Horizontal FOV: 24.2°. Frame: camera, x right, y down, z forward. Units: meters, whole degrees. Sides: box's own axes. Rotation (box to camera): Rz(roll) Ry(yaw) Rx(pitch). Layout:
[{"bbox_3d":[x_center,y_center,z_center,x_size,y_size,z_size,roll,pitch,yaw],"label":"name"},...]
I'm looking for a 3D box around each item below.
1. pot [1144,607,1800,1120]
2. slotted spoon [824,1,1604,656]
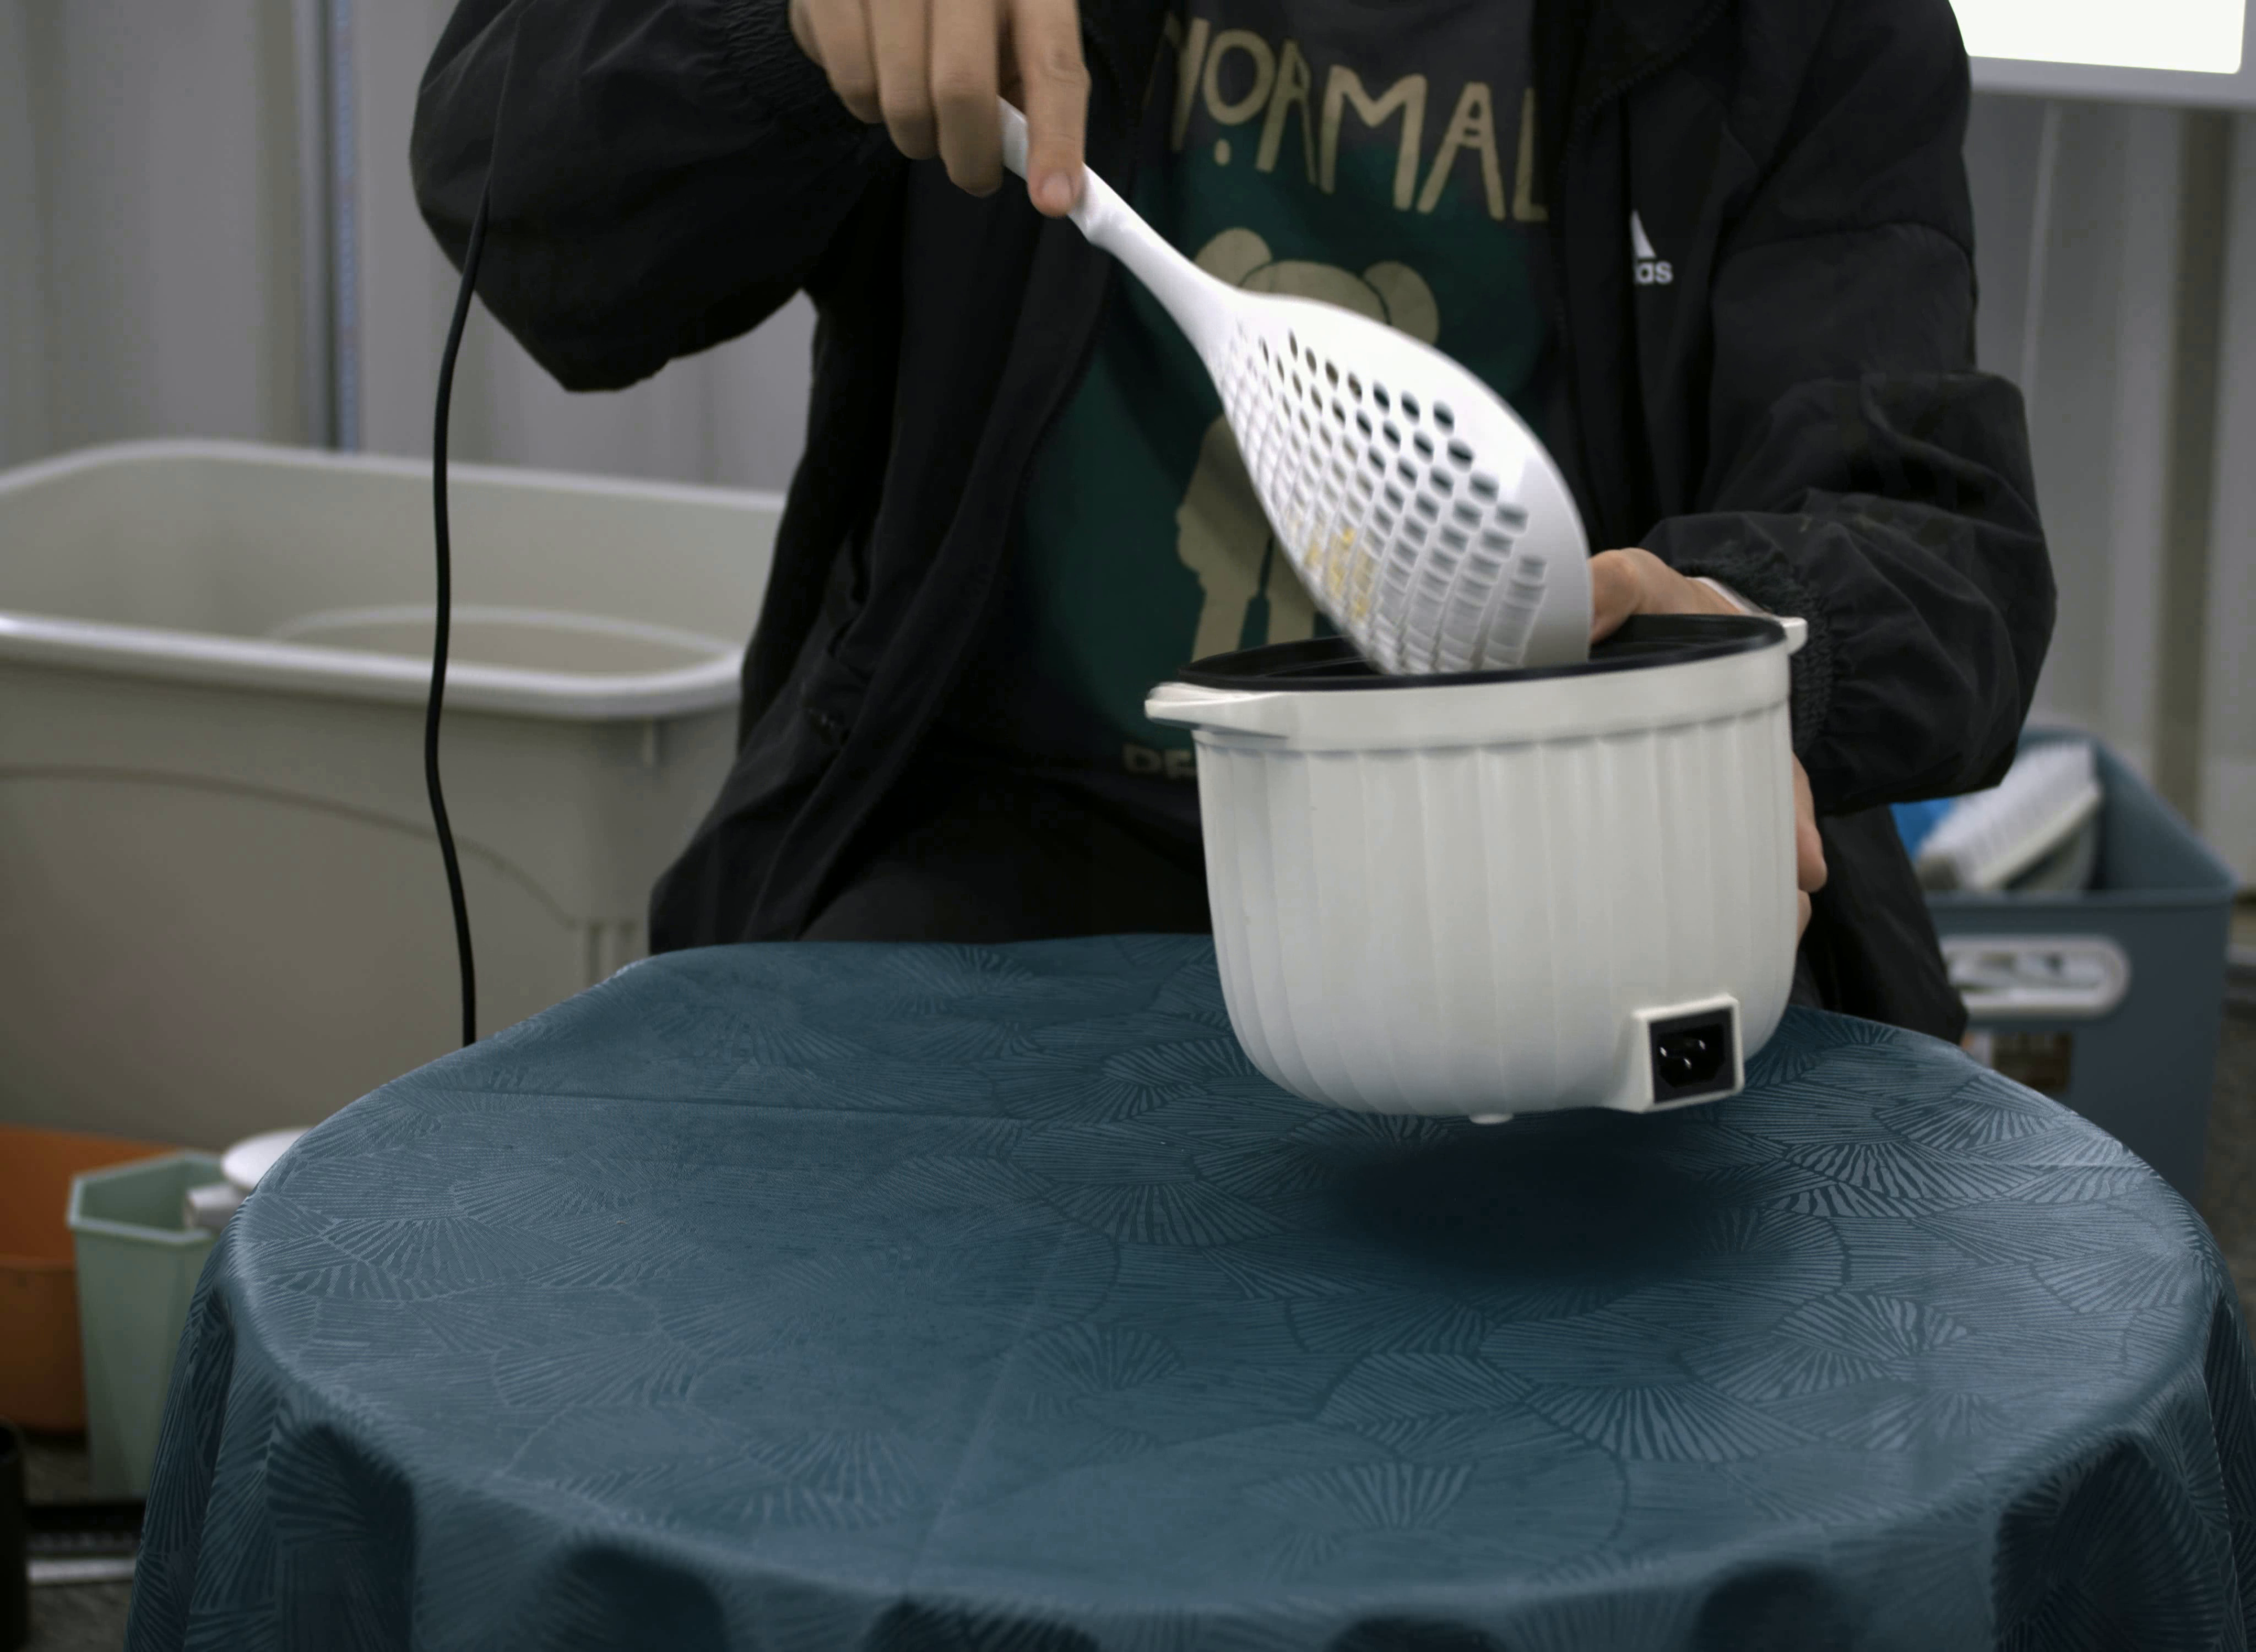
[{"bbox_3d":[0.107,0.010,1.597,0.241,0.143,0.188,-7,10,-34],"label":"pot"},{"bbox_3d":[0.021,-0.151,1.636,0.050,0.138,0.344,-27,60,-25],"label":"slotted spoon"}]
